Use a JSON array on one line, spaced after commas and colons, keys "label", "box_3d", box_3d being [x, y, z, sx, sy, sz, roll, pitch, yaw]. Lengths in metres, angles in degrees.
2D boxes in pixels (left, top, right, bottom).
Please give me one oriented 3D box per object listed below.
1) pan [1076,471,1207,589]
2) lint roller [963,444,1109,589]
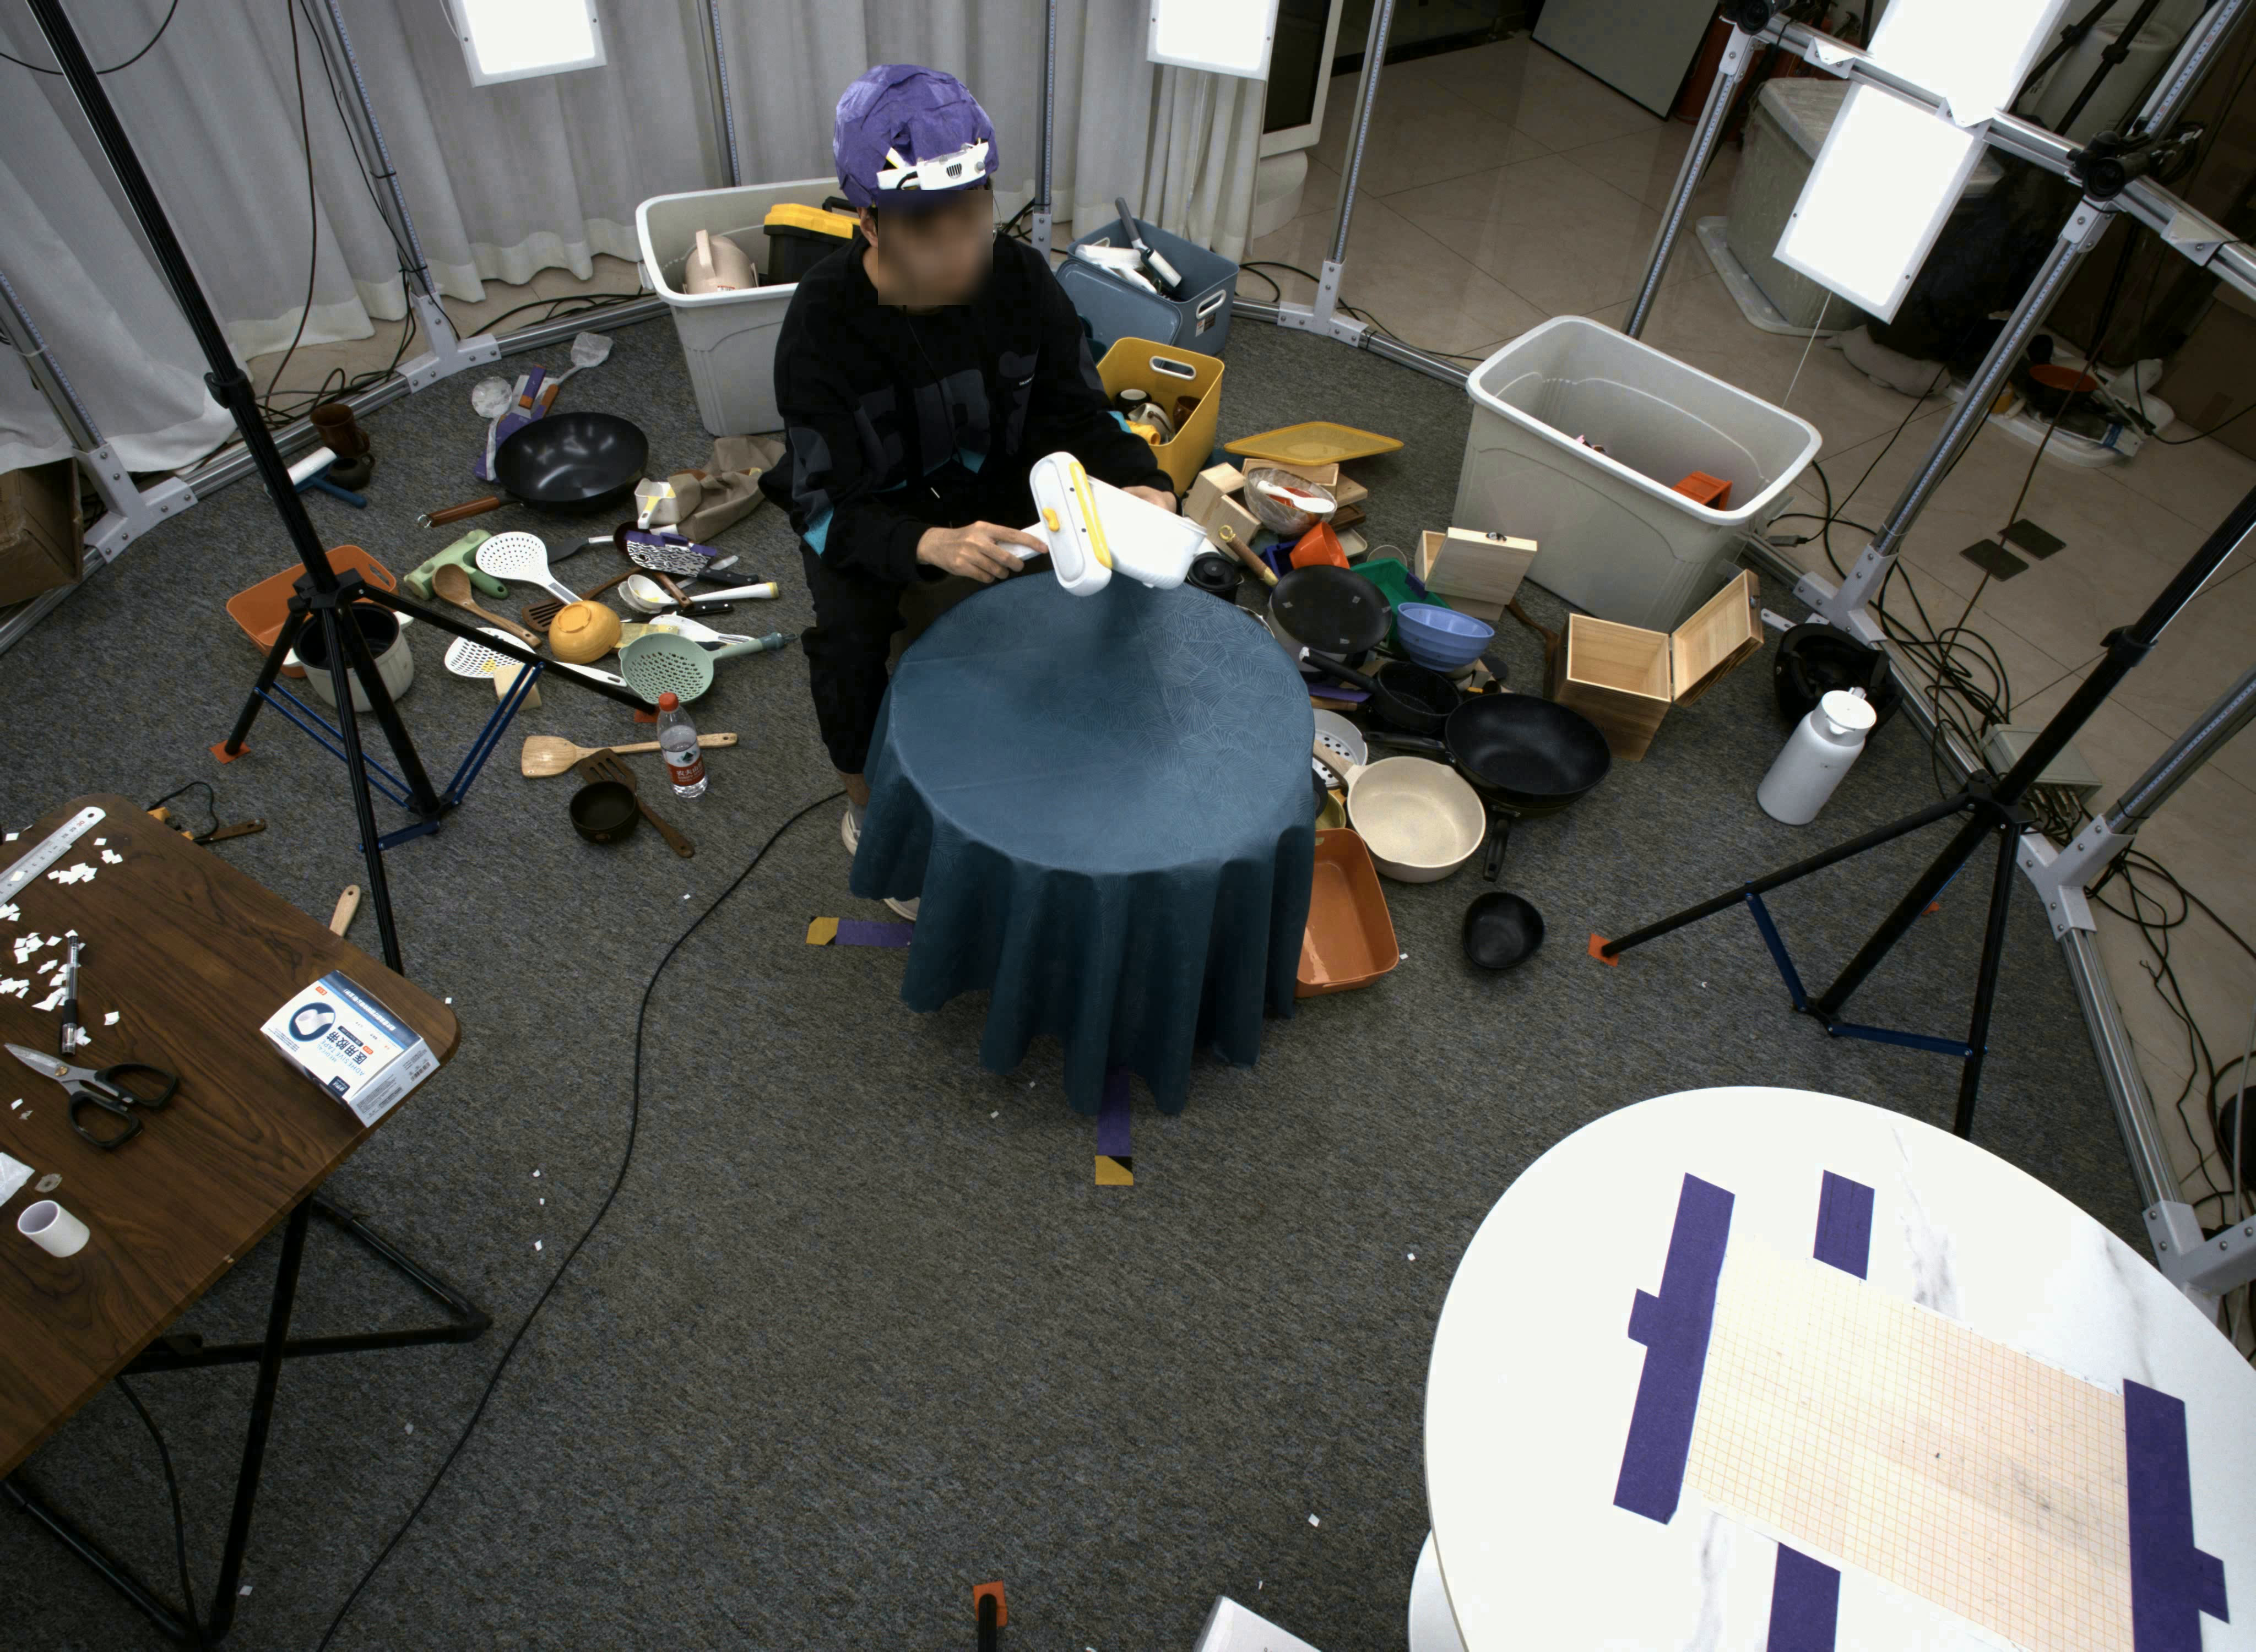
[{"label": "pan", "box_3d": [-0.002, -0.419, 1.837, 0.201, 0.101, 0.358, 22, 13, -5]}, {"label": "lint roller", "box_3d": [-0.129, -0.377, 1.686, 0.074, 0.191, 0.194, -5, 73, -59]}]
